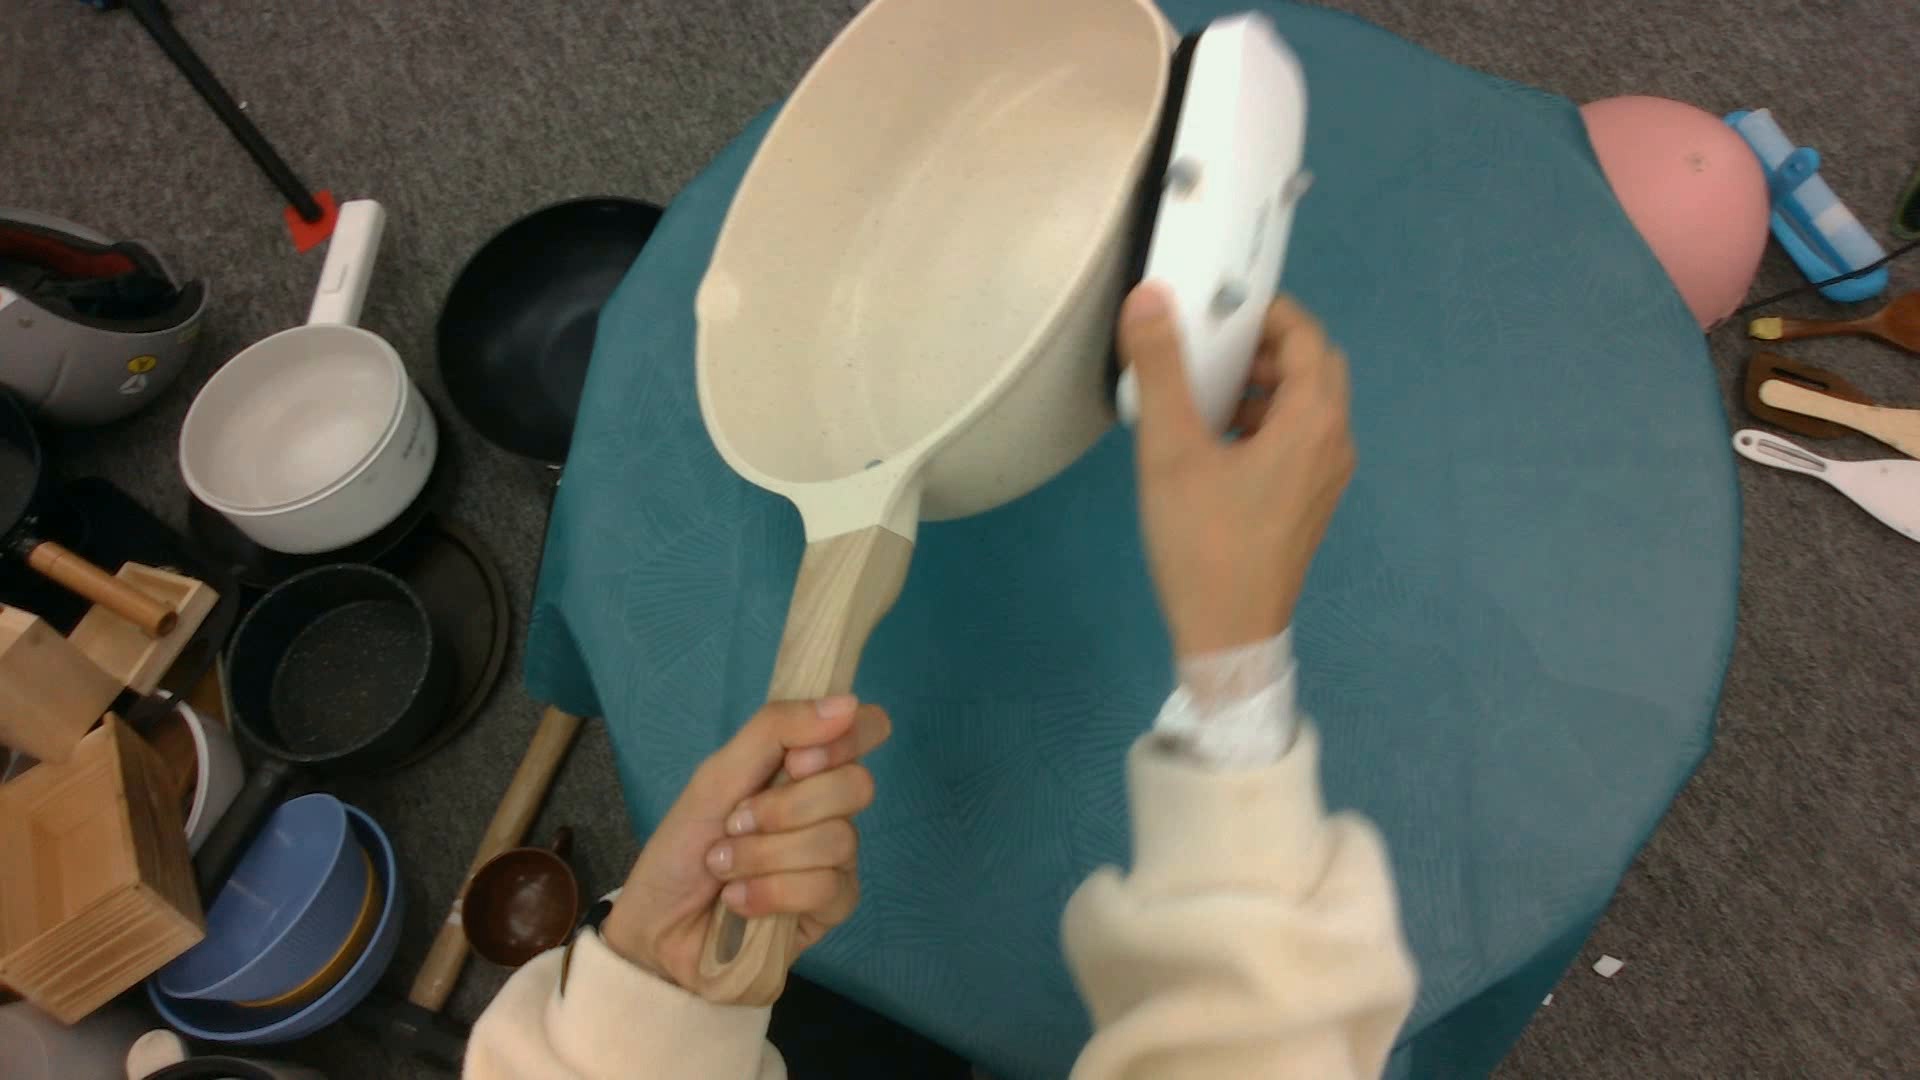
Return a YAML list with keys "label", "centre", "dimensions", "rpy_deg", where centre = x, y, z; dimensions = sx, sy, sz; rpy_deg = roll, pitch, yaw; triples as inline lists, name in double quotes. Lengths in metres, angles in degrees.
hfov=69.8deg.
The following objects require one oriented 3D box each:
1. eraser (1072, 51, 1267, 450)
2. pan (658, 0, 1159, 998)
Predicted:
- label: "eraser"
  centre: [0.075, -0.098, 0.477]
  dimensions: [0.034, 0.063, 0.131]
  rpy_deg: [11, 91, 37]
- label: "pan"
  centre: [-0.027, -0.044, 0.542]
  dimensions: [0.262, 0.102, 0.436]
  rpy_deg: [-14, 61, 38]
